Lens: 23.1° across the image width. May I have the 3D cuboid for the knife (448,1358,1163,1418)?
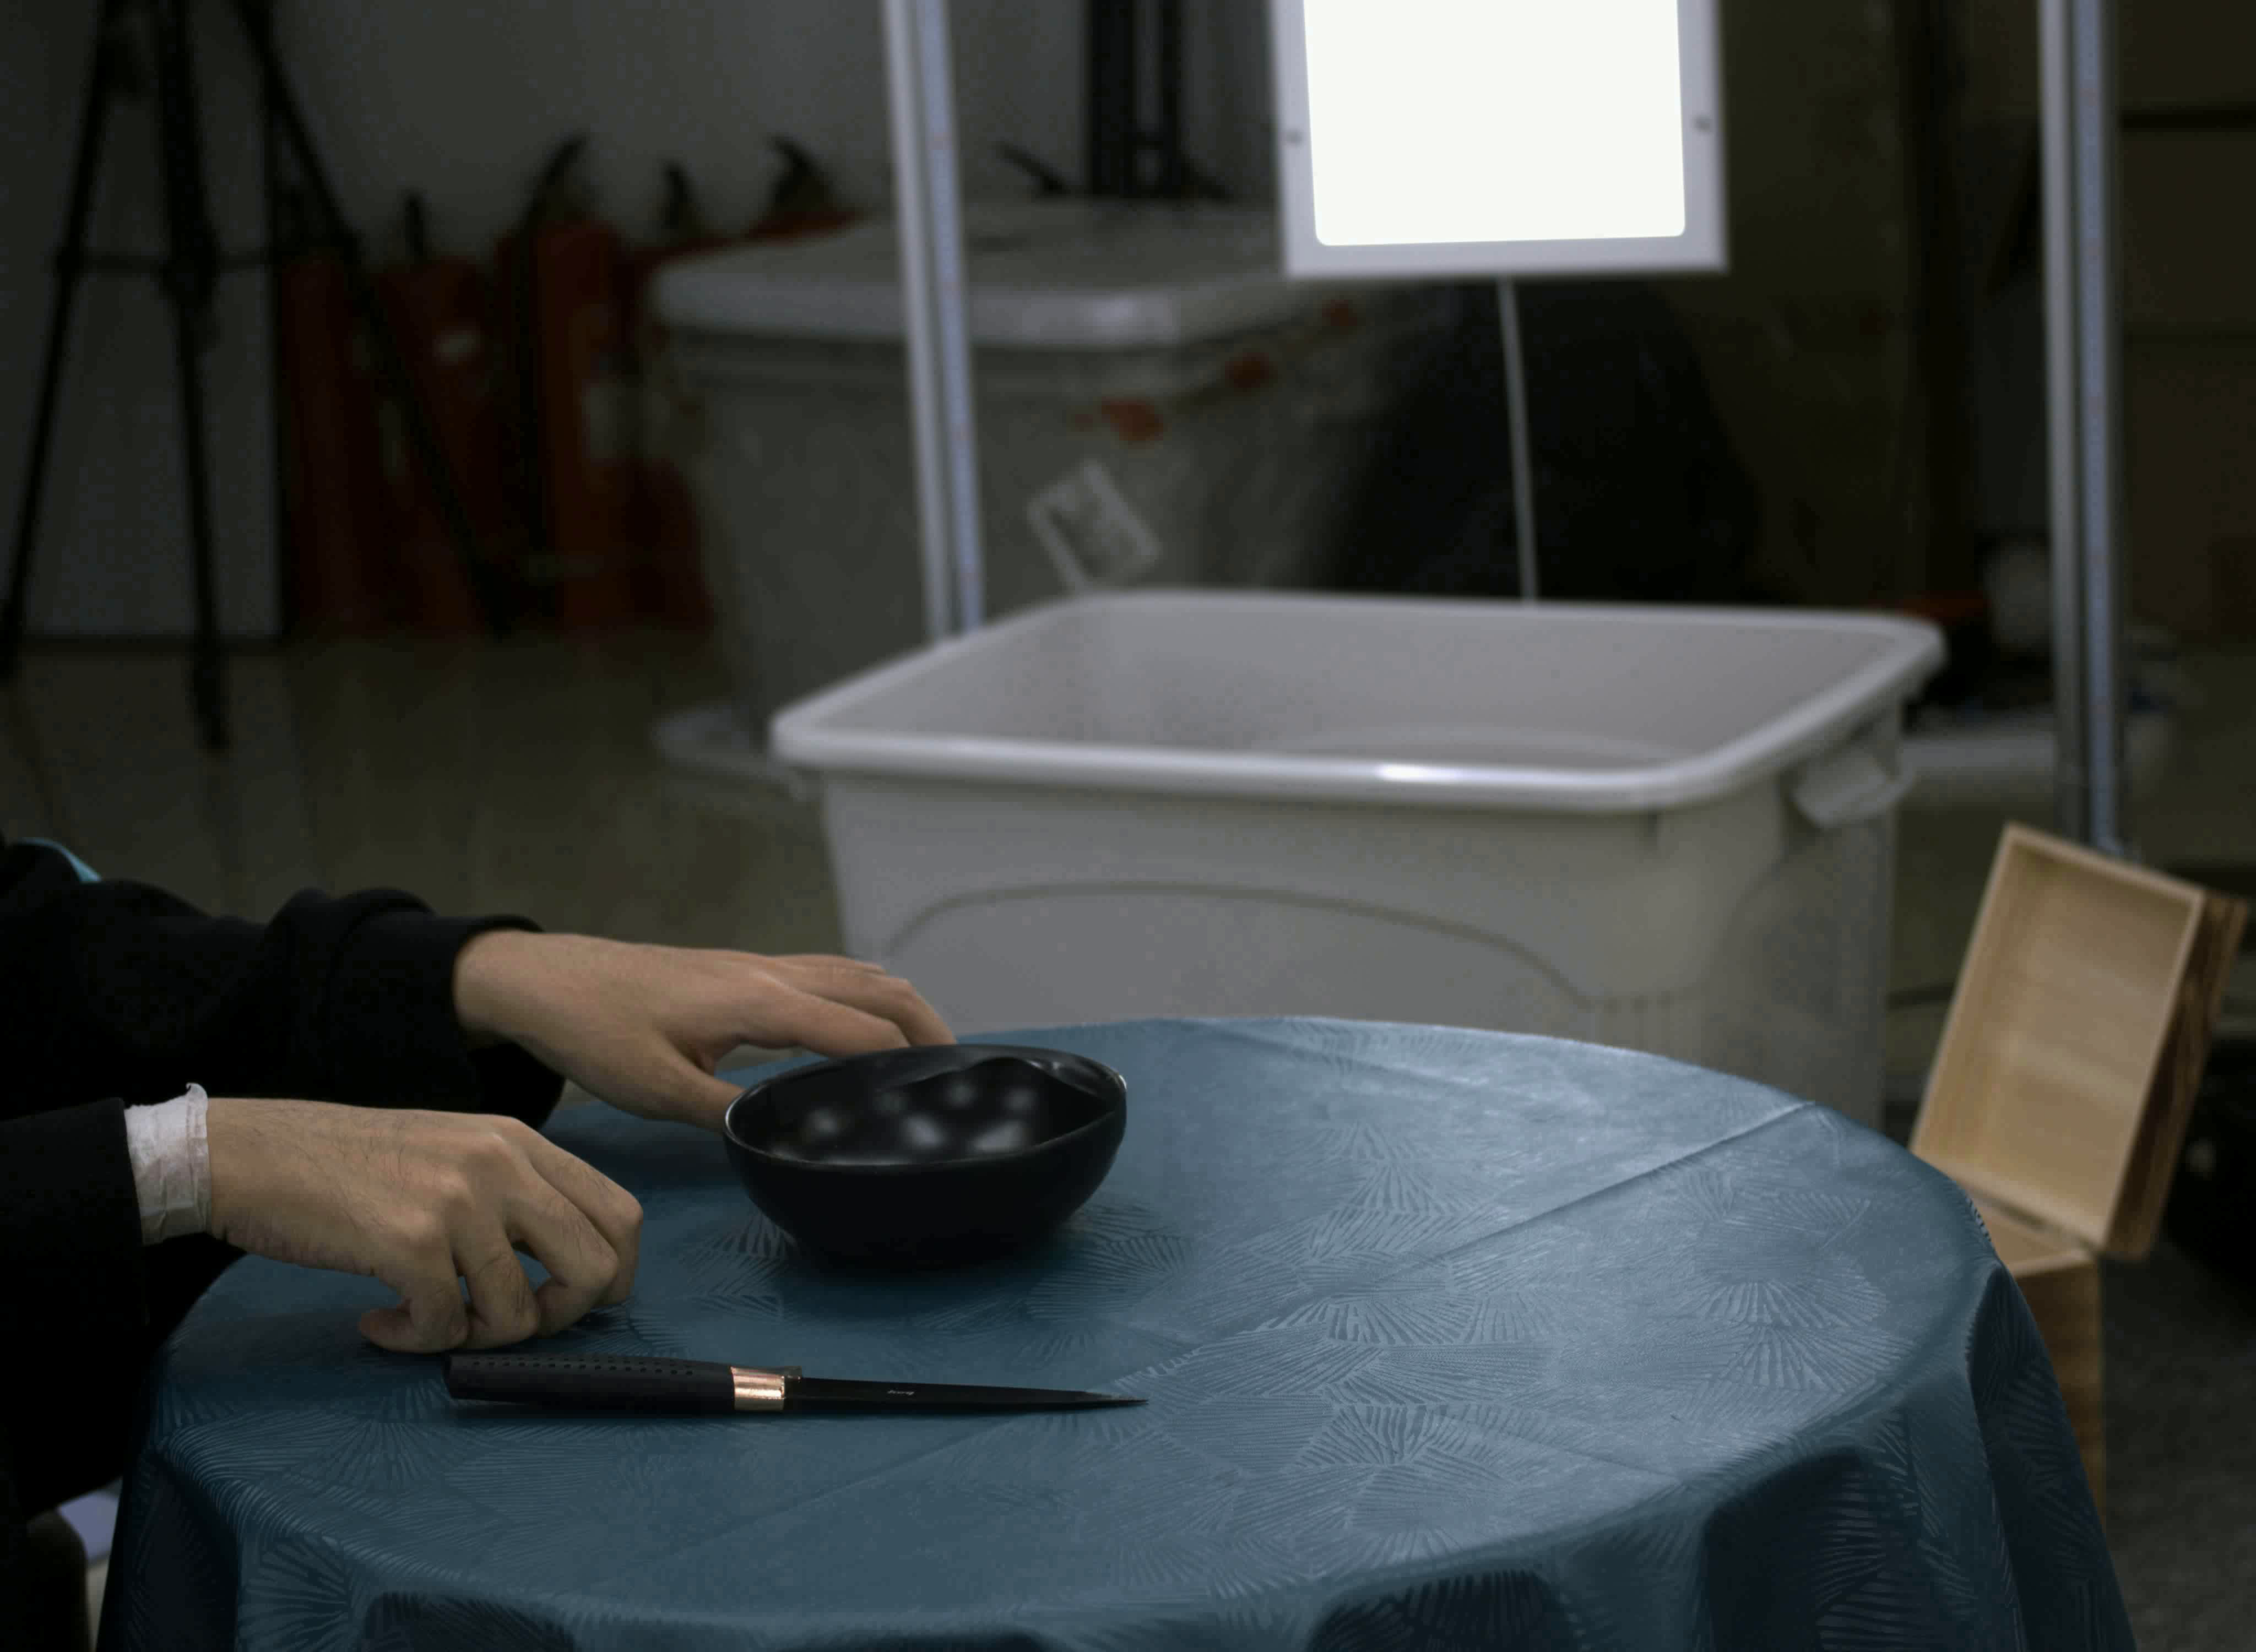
[{"bbox_3d":[-0.101,0.175,1.715,0.227,0.017,0.026,-1,12,12],"label":"knife"}]

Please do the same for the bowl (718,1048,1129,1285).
[{"bbox_3d":[-0.066,0.119,1.859,0.140,0.050,0.140,-9,14,1],"label":"bowl"}]
